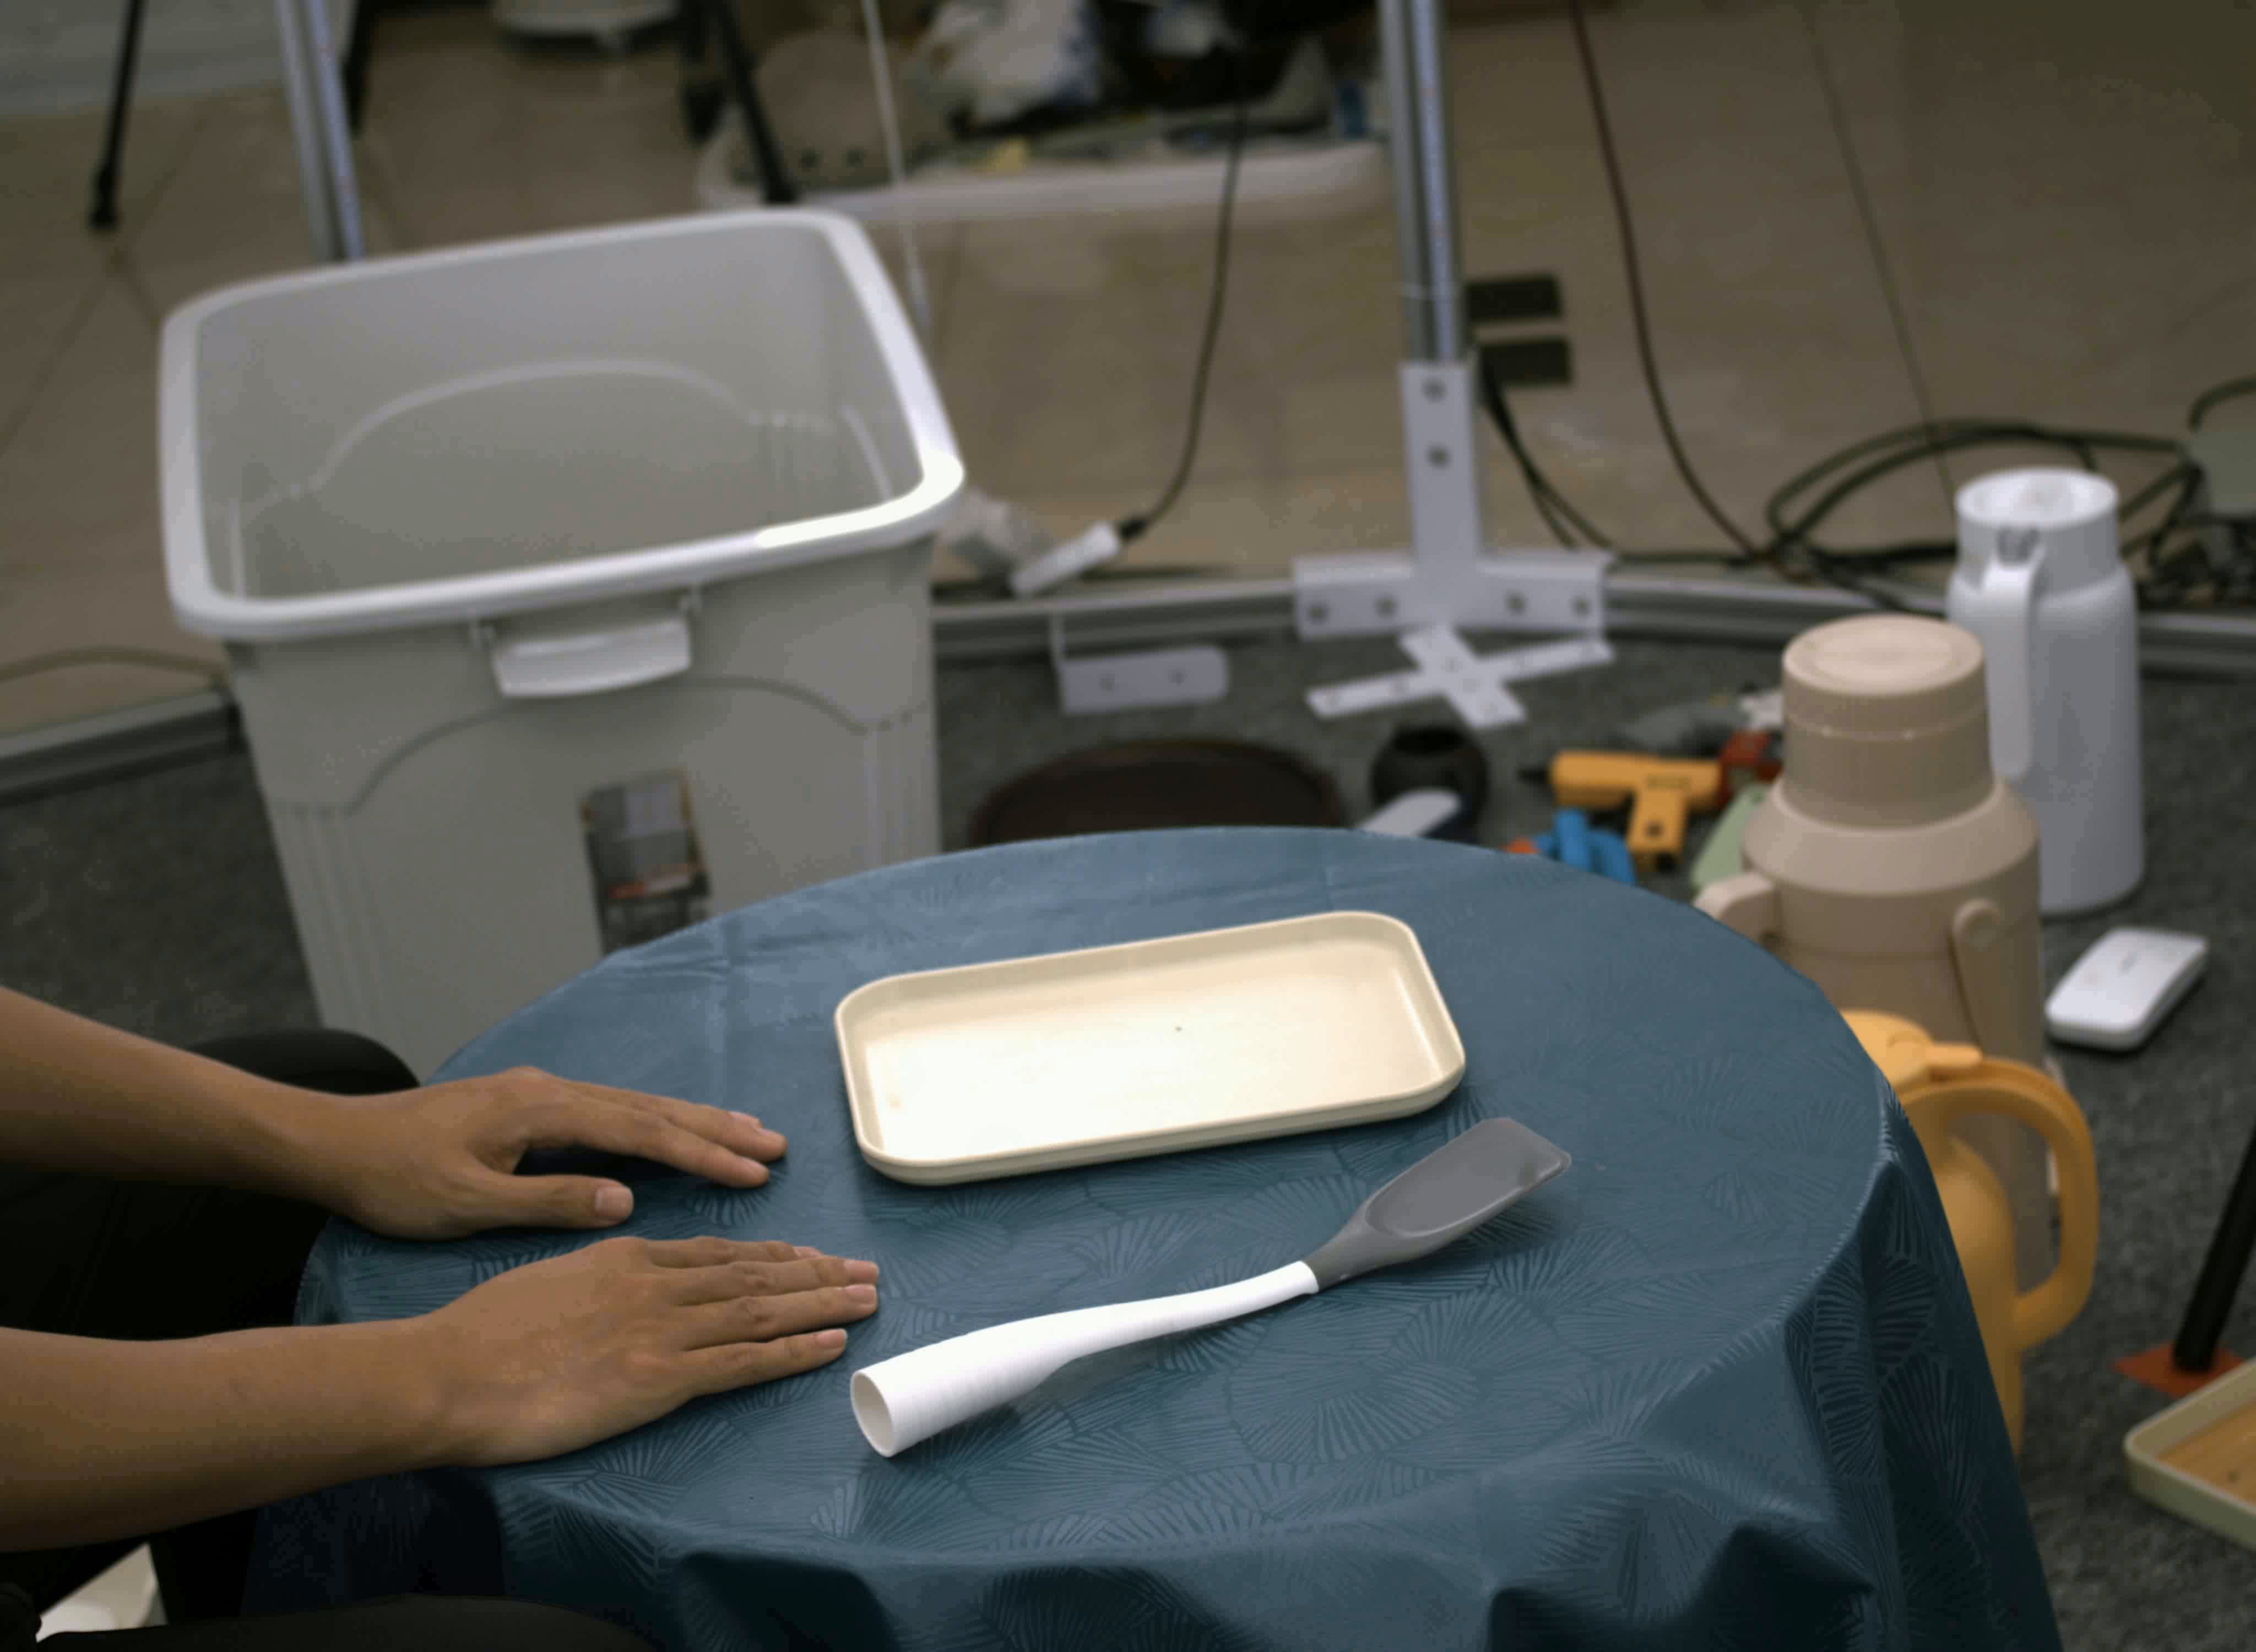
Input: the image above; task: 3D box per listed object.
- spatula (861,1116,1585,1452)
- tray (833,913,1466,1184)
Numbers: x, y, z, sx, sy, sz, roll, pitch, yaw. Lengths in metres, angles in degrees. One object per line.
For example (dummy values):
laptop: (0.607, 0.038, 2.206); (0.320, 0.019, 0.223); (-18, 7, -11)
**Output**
spatula: (0.036, 0.164, 2.048); (0.286, 0.032, 0.058); (-18, 23, -25)
tray: (0.007, 0.088, 2.240); (0.239, 0.018, 0.169); (-8, 24, -4)
